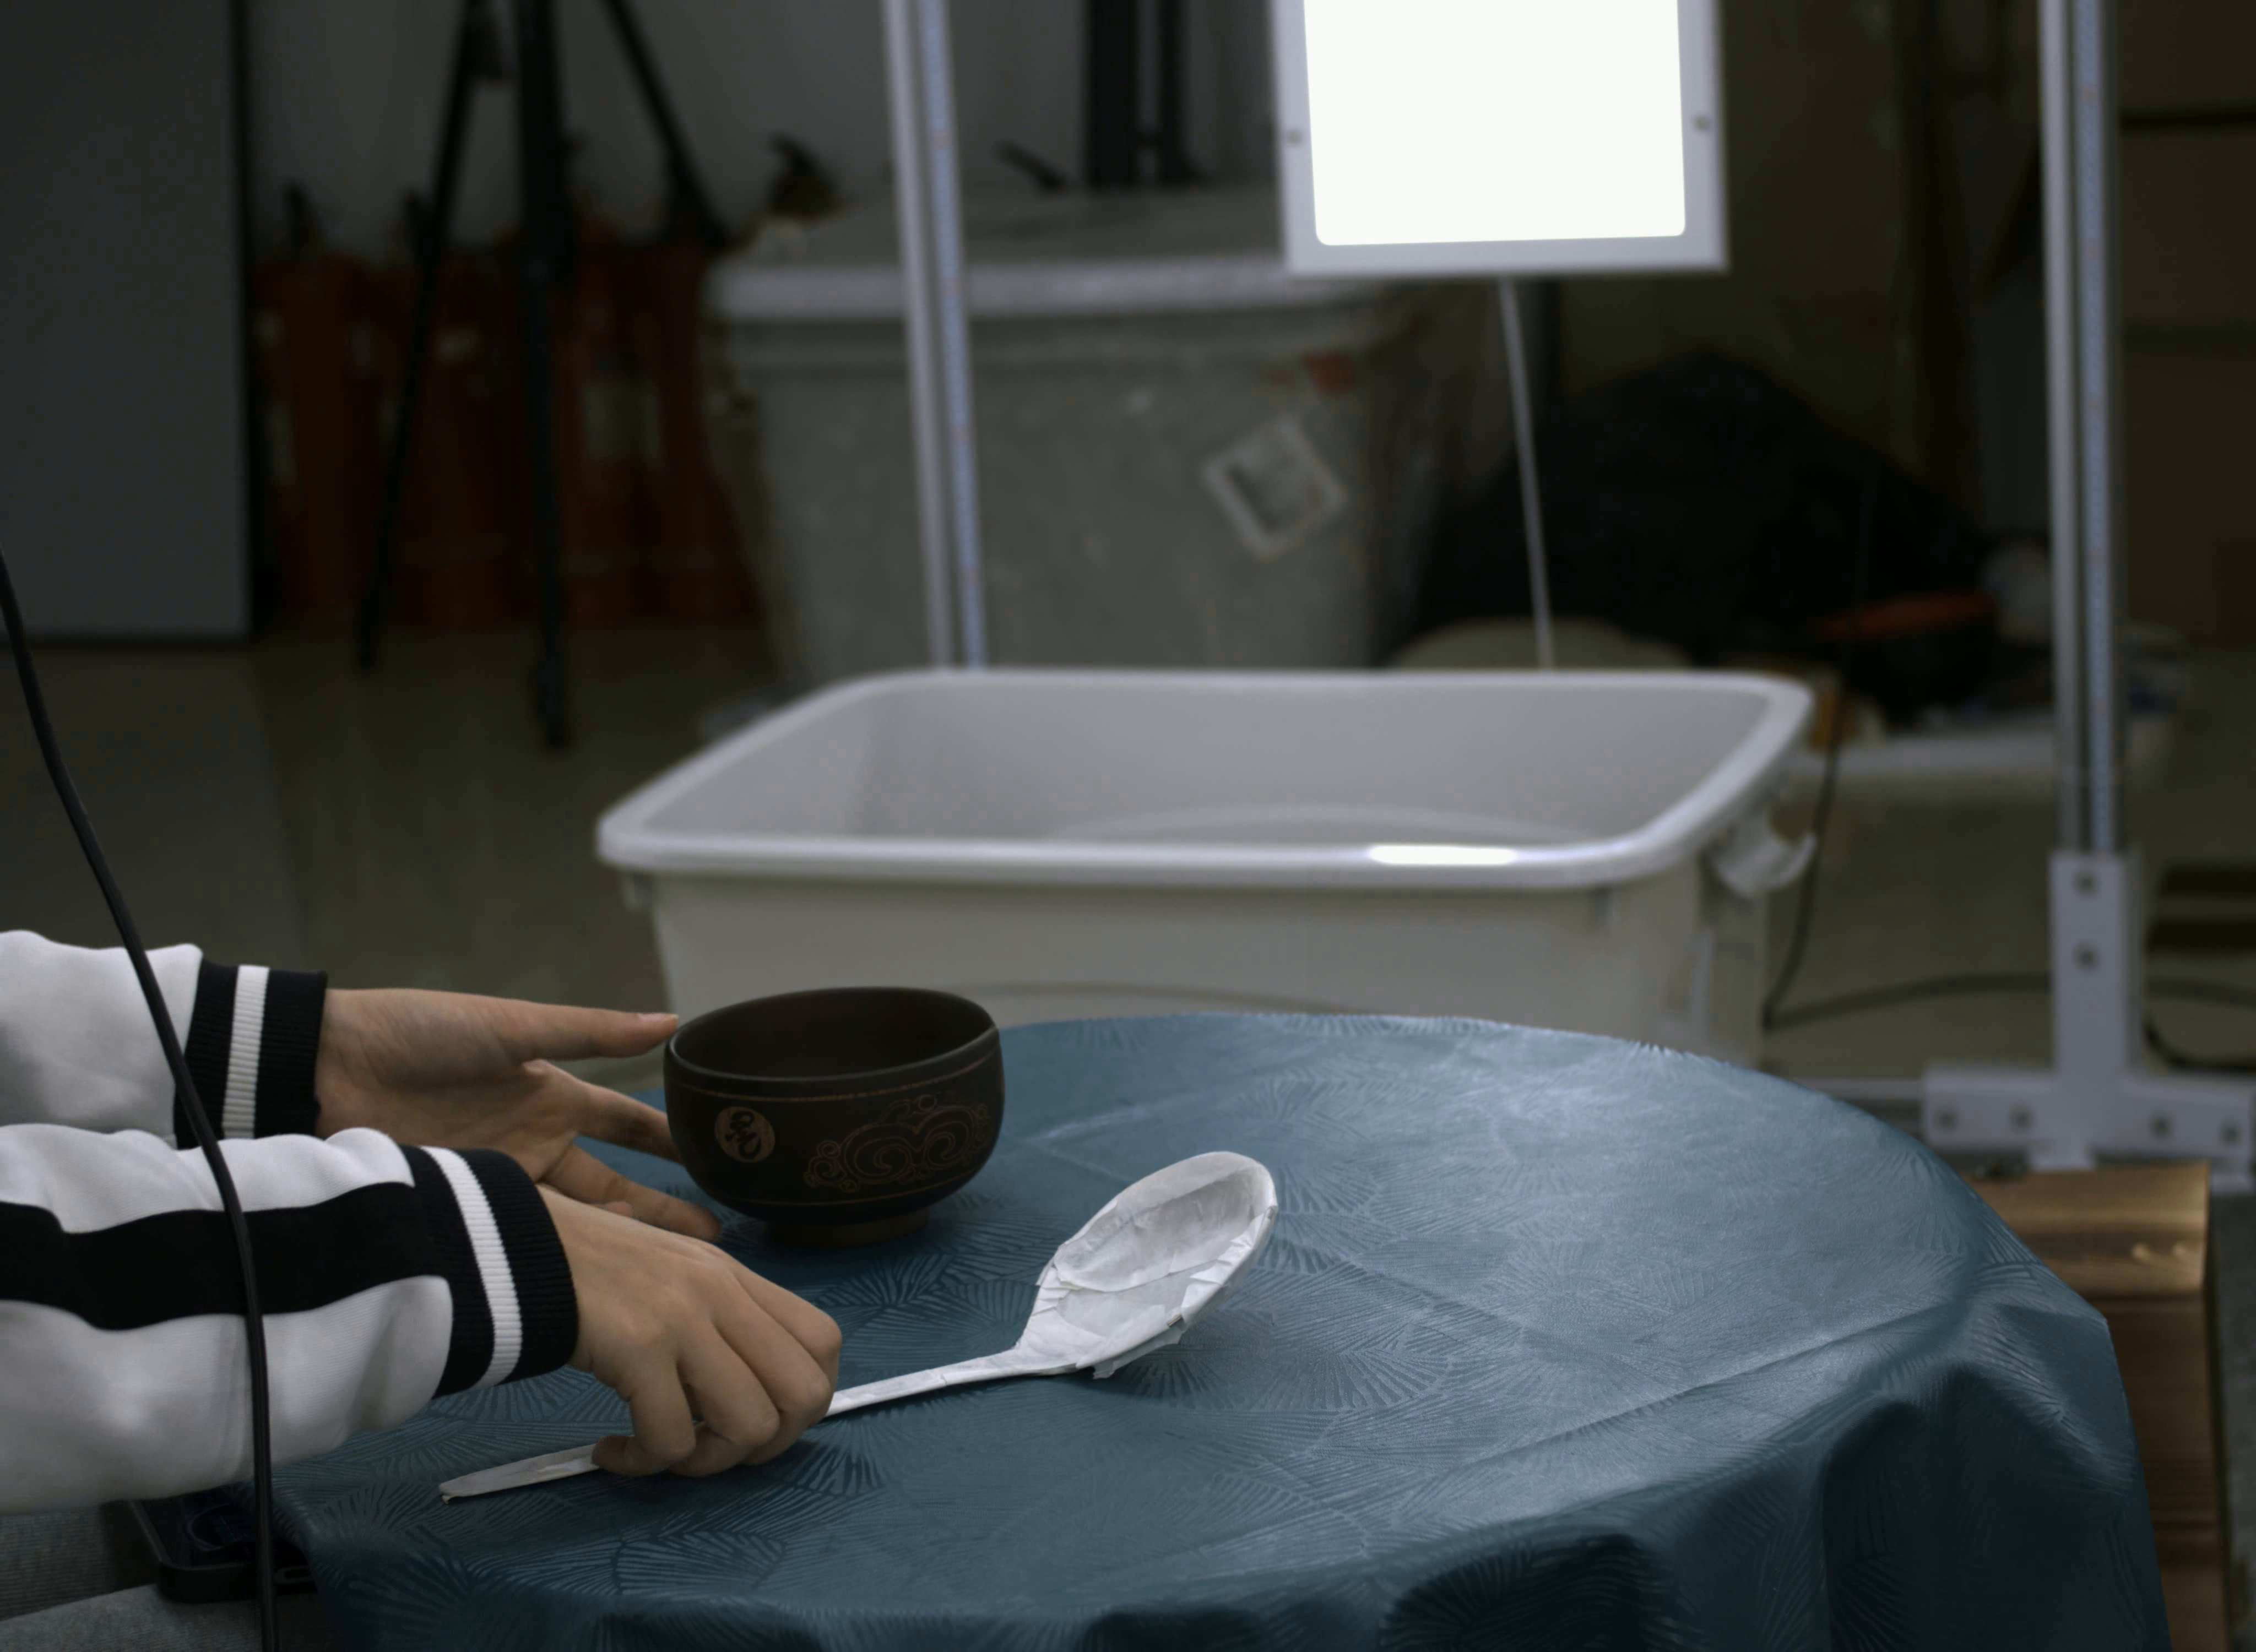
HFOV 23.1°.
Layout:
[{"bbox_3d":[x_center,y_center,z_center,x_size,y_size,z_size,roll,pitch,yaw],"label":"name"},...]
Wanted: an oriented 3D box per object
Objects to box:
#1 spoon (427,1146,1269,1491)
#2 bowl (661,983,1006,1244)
[{"bbox_3d":[-0.087,0.151,1.710,0.273,0.059,0.102,-9,12,-17],"label":"spoon"},{"bbox_3d":[-0.099,0.102,1.884,0.118,0.070,0.118,-5,14,0],"label":"bowl"}]
